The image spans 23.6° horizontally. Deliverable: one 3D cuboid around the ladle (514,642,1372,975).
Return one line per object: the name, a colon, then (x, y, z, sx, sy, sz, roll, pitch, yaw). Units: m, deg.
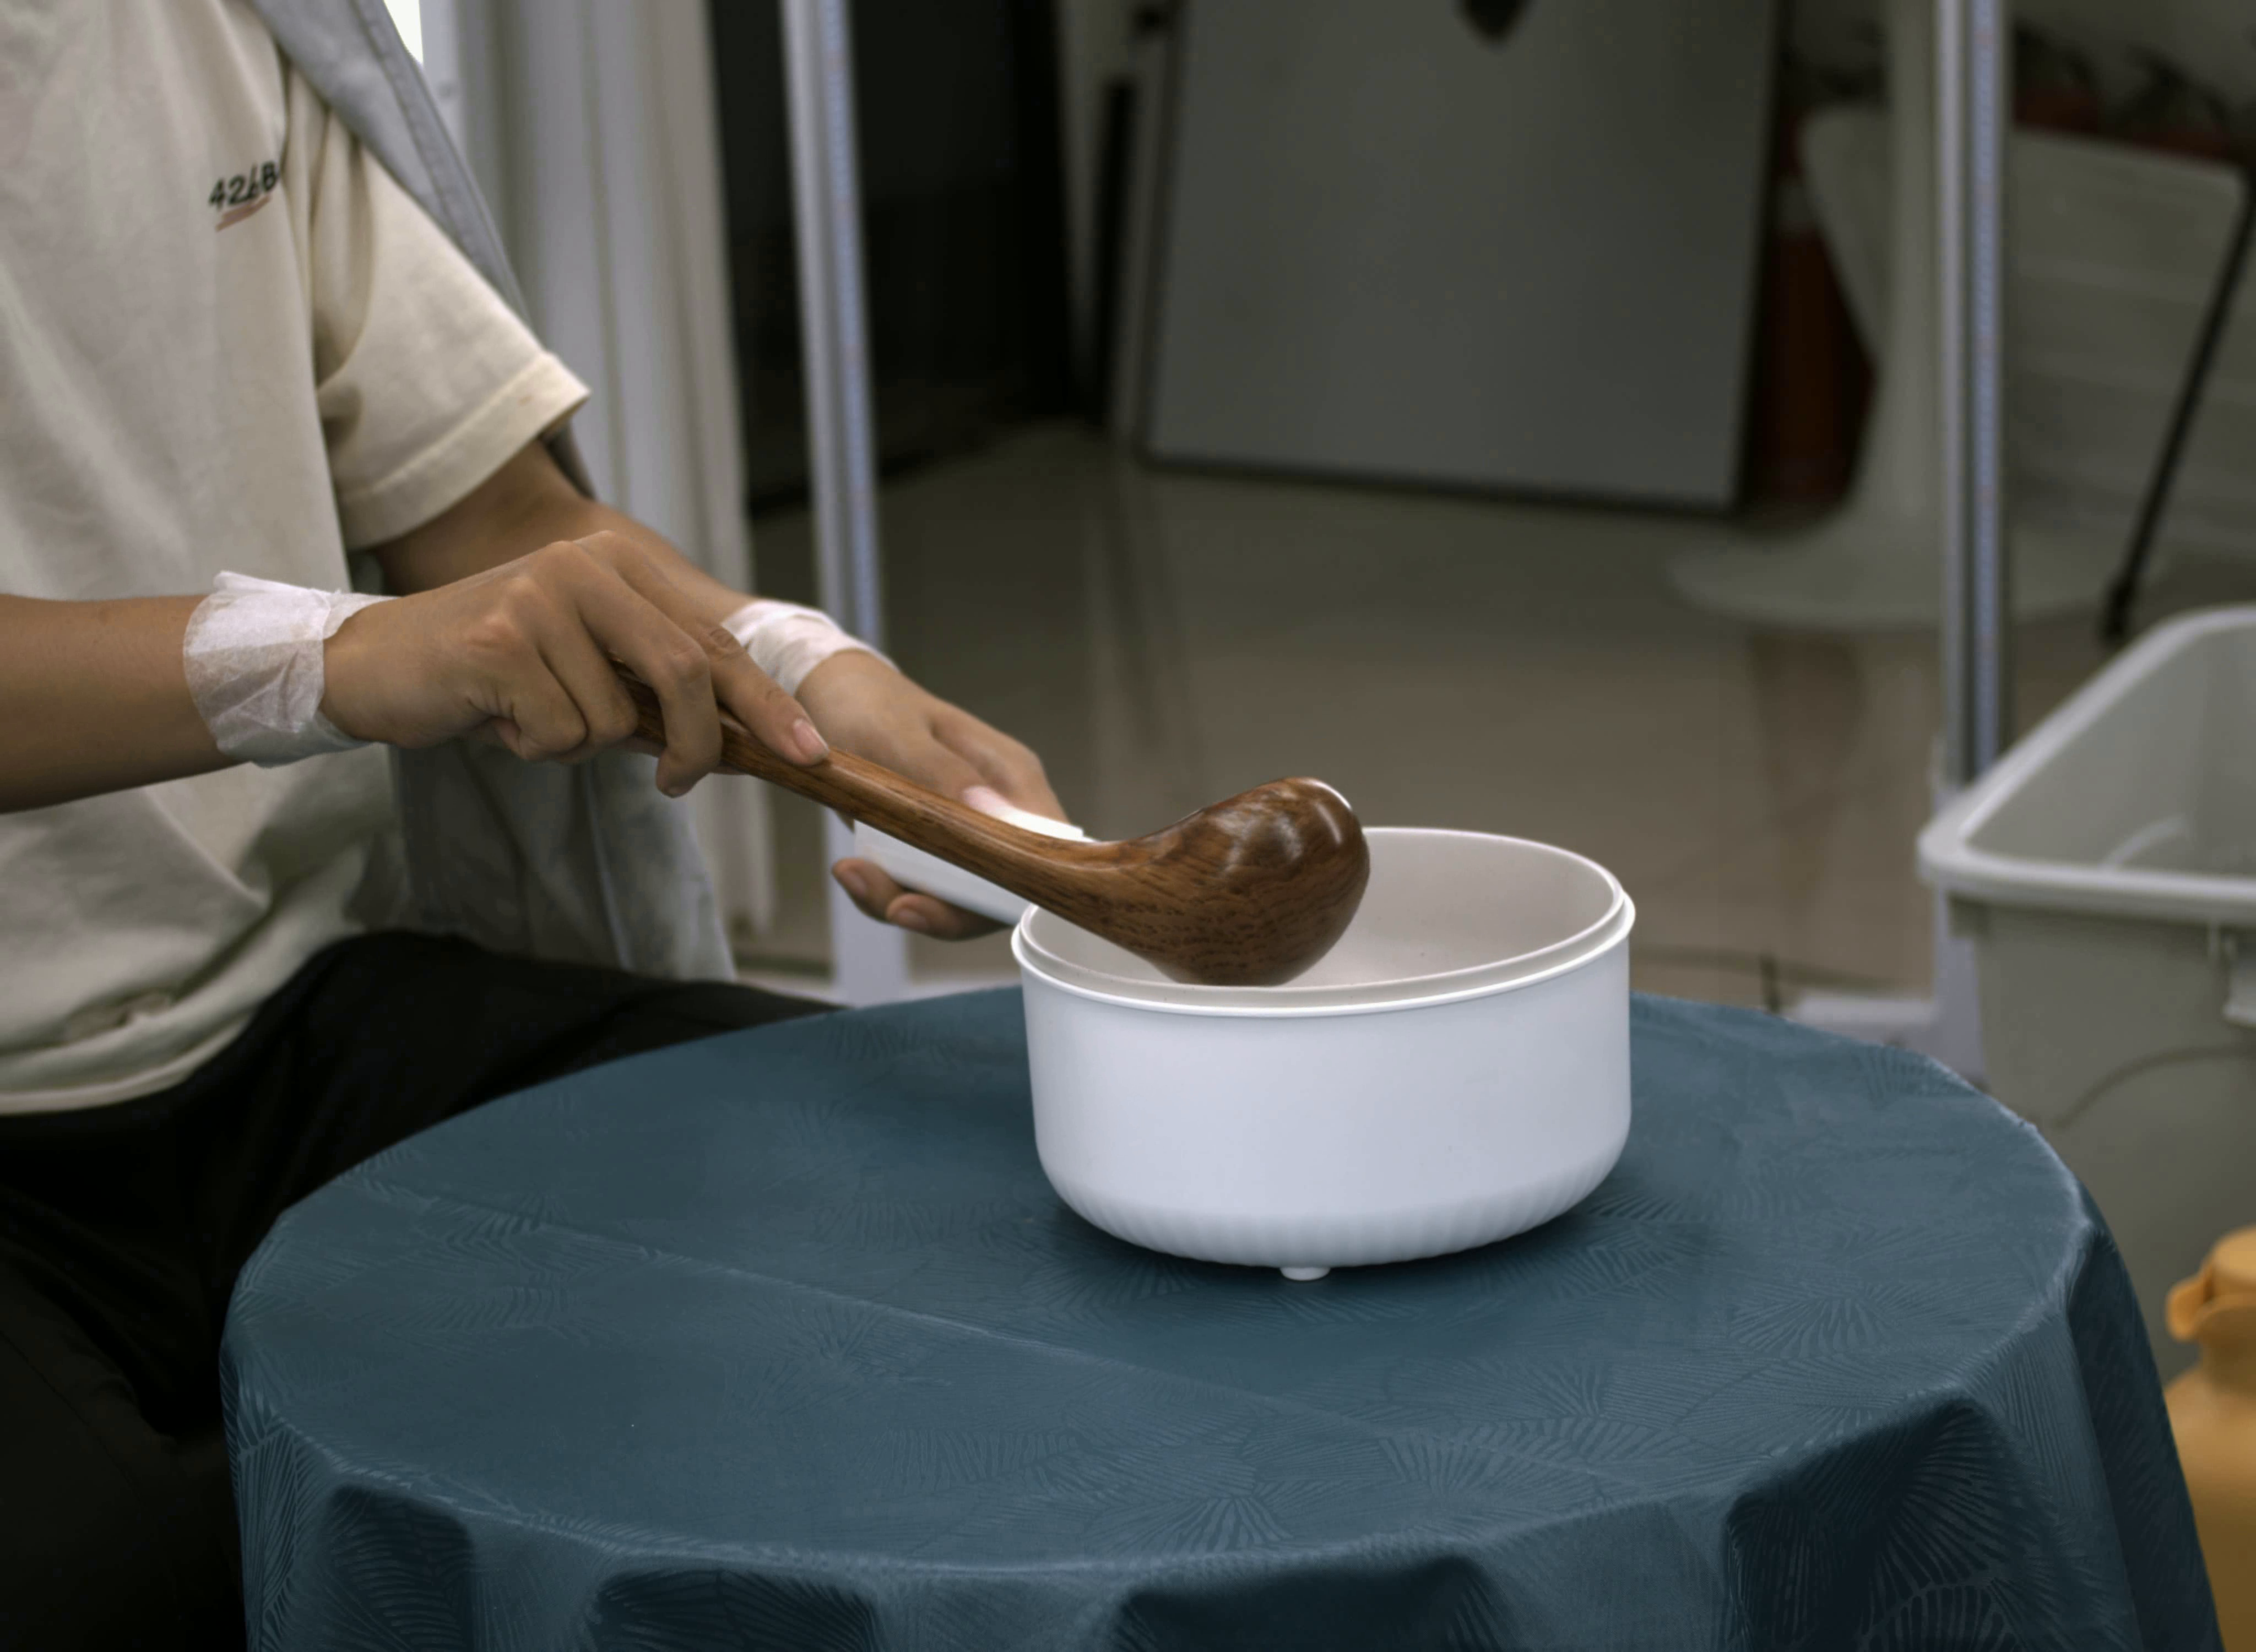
ladle: (-0.055, -0.020, 1.696, 0.273, 0.083, 0.076, 20, 31, 12)

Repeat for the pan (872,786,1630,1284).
pan: (0.022, 0.062, 1.800, 0.197, 0.103, 0.358, -13, 16, -31)
